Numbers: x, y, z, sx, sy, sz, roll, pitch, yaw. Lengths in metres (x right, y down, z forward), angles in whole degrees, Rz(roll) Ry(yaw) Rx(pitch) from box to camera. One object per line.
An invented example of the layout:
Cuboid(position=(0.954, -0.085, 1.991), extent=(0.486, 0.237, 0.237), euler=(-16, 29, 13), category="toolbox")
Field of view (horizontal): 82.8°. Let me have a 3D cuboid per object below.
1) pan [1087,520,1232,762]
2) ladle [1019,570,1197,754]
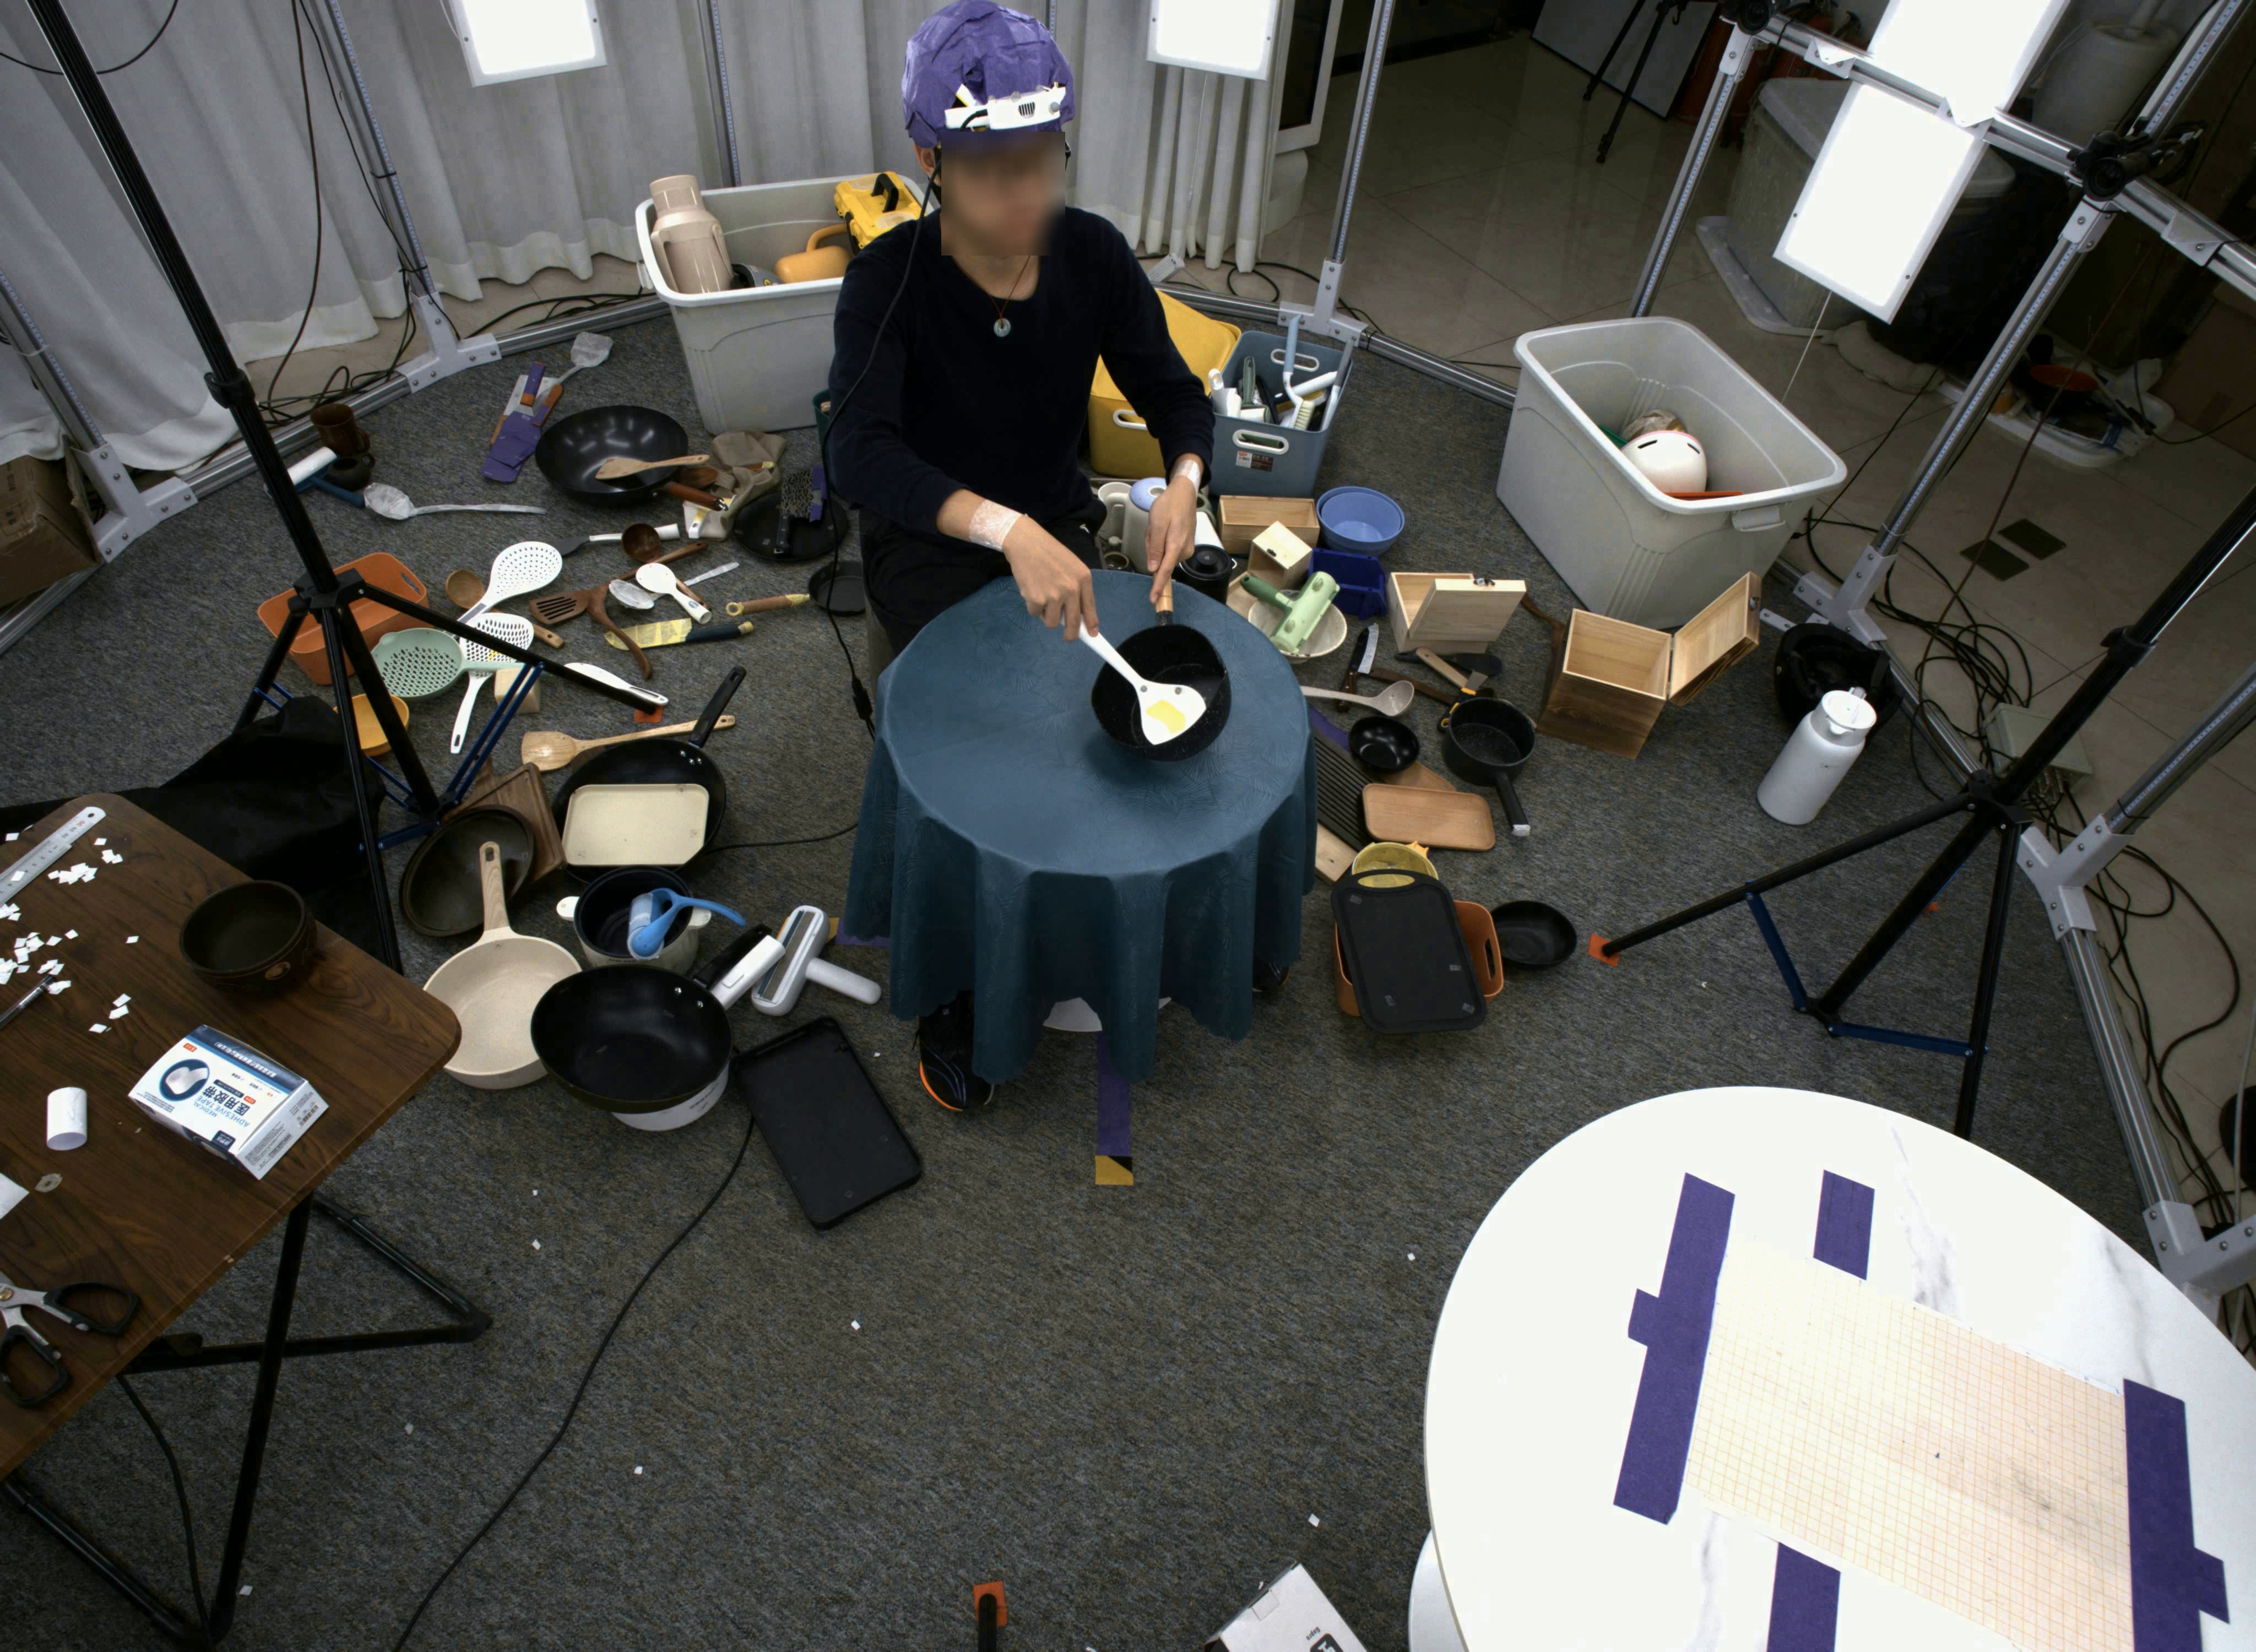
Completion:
Cuboid(position=(0.051, -0.249, 1.752), extent=(0.207, 0.106, 0.349), euler=(-10, 63, 25), category="pan")
Cuboid(position=(-0.025, -0.208, 1.629), extent=(0.090, 0.288, 0.071), euler=(-42, 27, 11), category="ladle")
